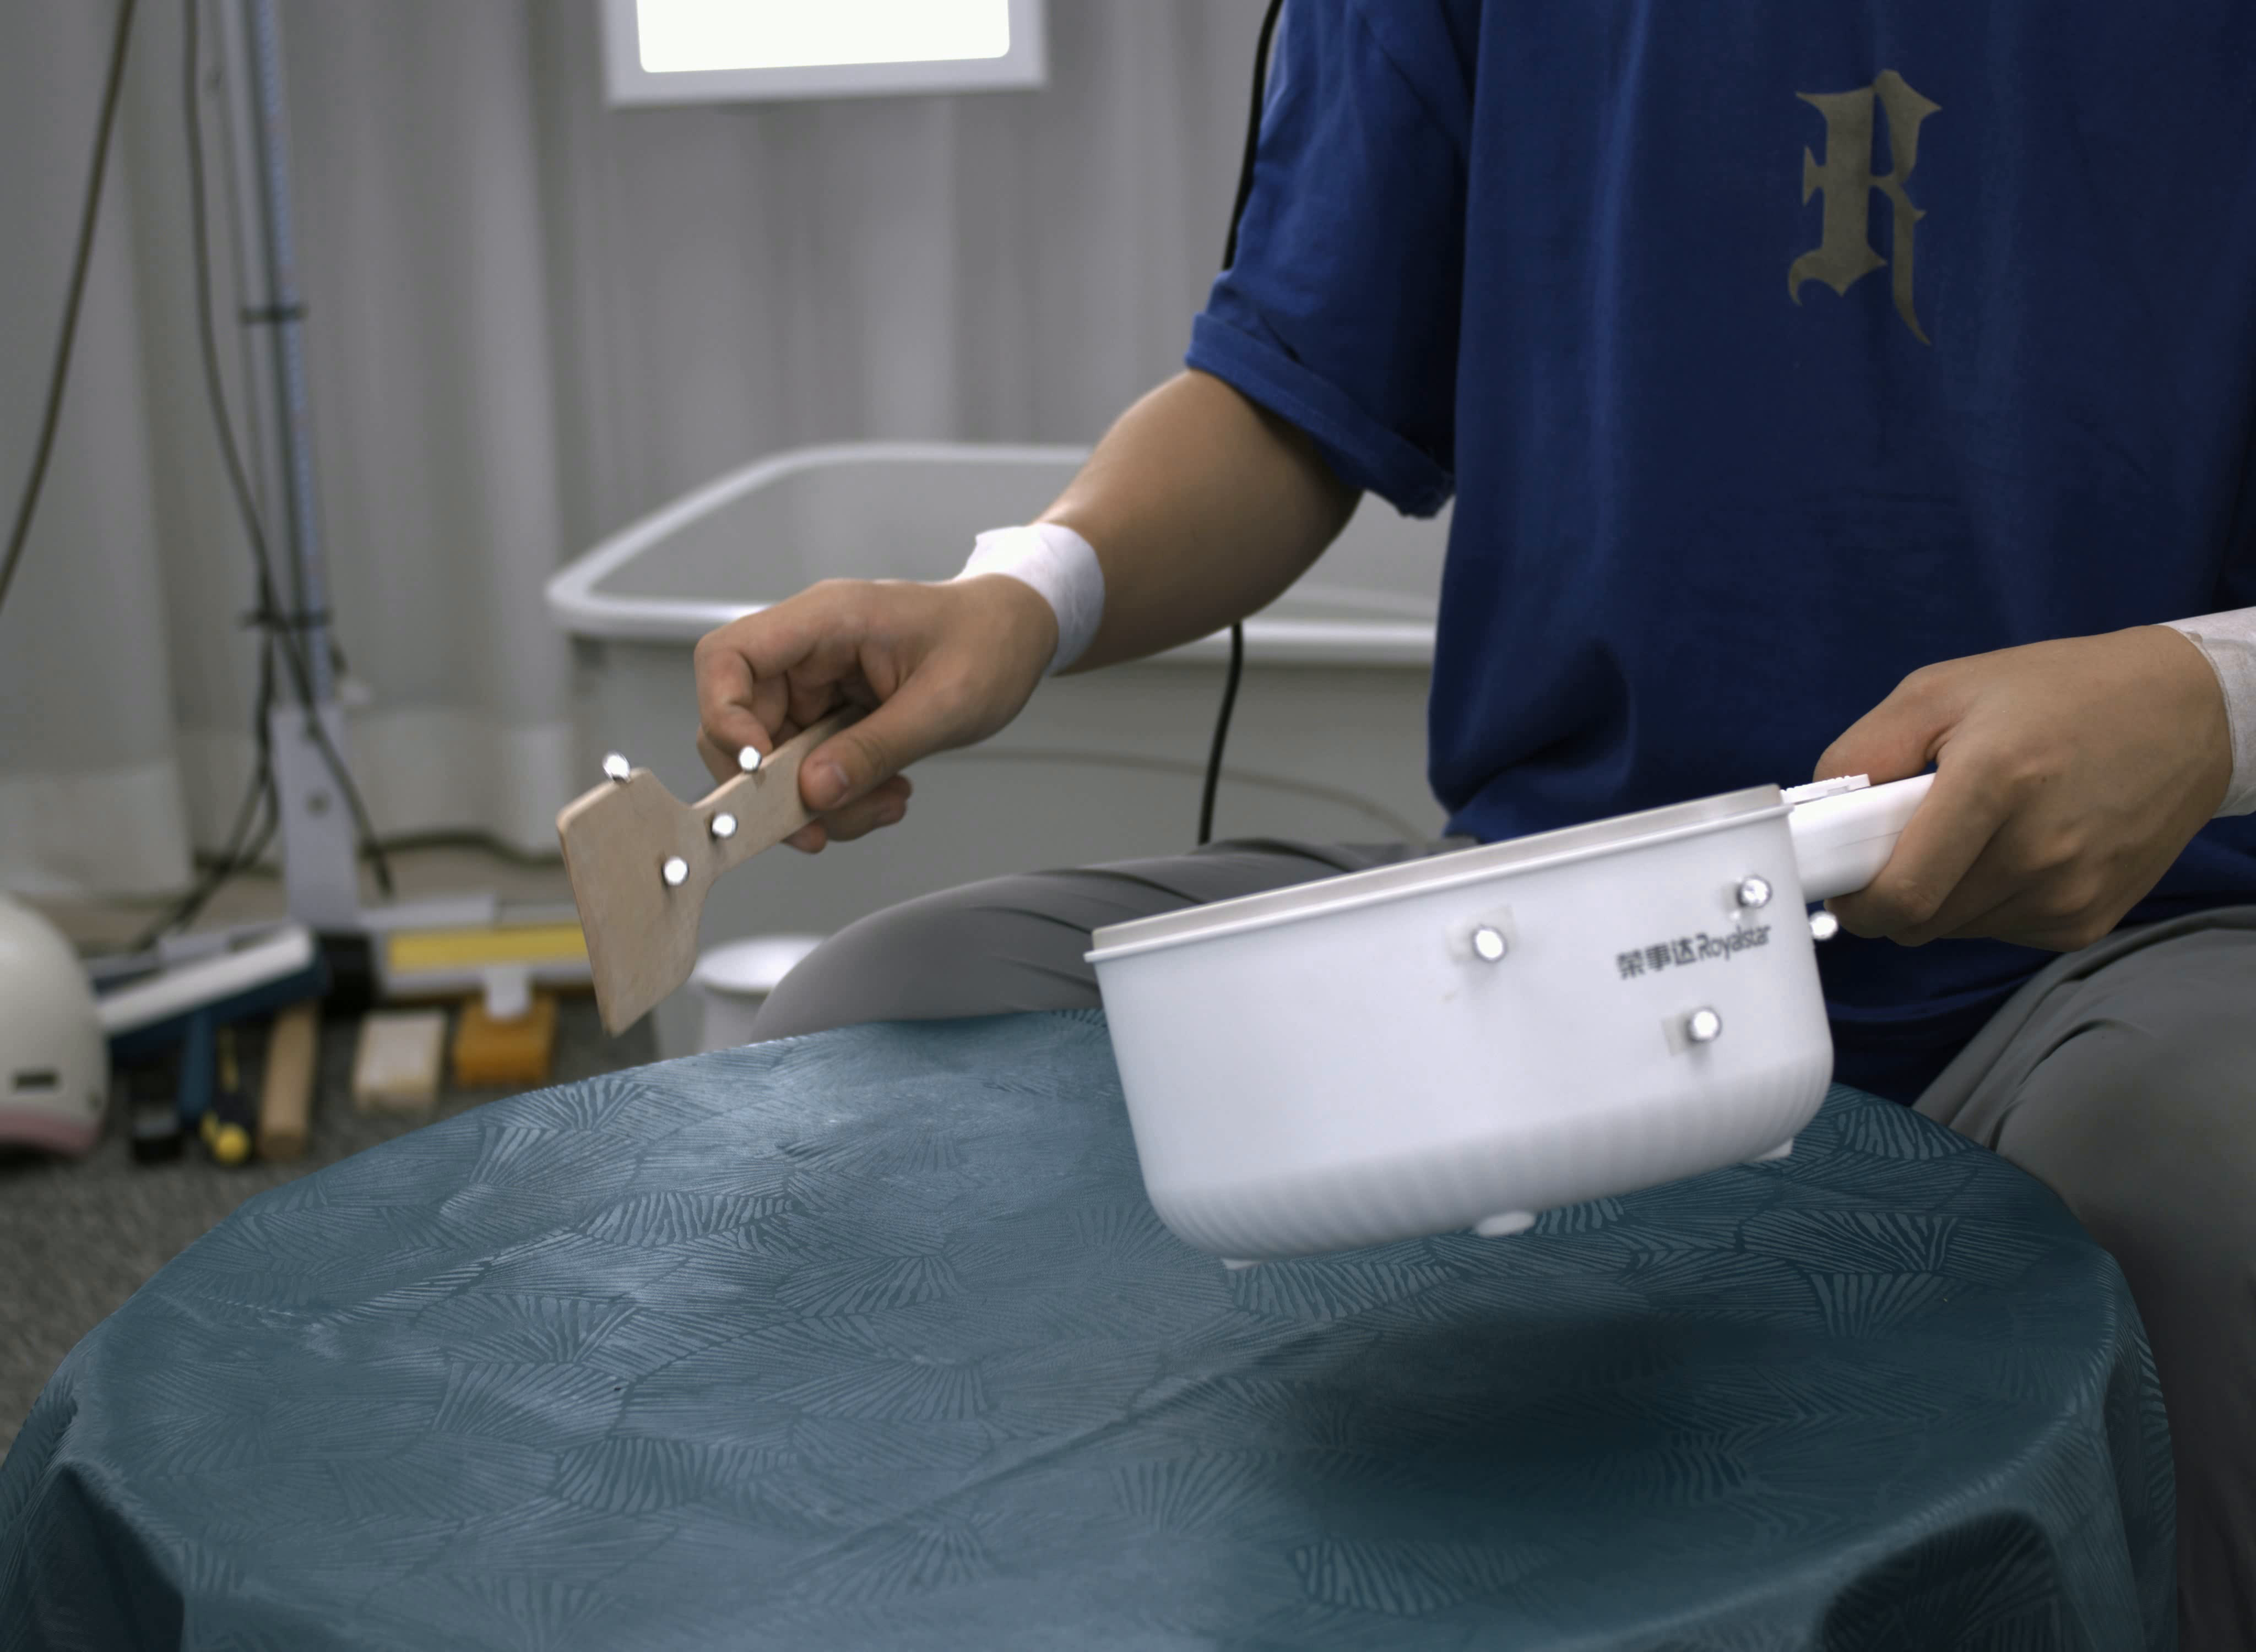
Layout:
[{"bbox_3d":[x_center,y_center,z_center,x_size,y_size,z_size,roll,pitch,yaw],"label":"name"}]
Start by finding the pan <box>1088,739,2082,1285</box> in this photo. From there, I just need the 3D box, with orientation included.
[{"bbox_3d":[0.152,0.048,1.560,0.353,0.102,0.201,-11,-4,-41],"label":"pan"}]

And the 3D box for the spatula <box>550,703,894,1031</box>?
[{"bbox_3d":[-0.128,-0.002,1.795,0.010,0.072,0.294,-13,9,19],"label":"spatula"}]
